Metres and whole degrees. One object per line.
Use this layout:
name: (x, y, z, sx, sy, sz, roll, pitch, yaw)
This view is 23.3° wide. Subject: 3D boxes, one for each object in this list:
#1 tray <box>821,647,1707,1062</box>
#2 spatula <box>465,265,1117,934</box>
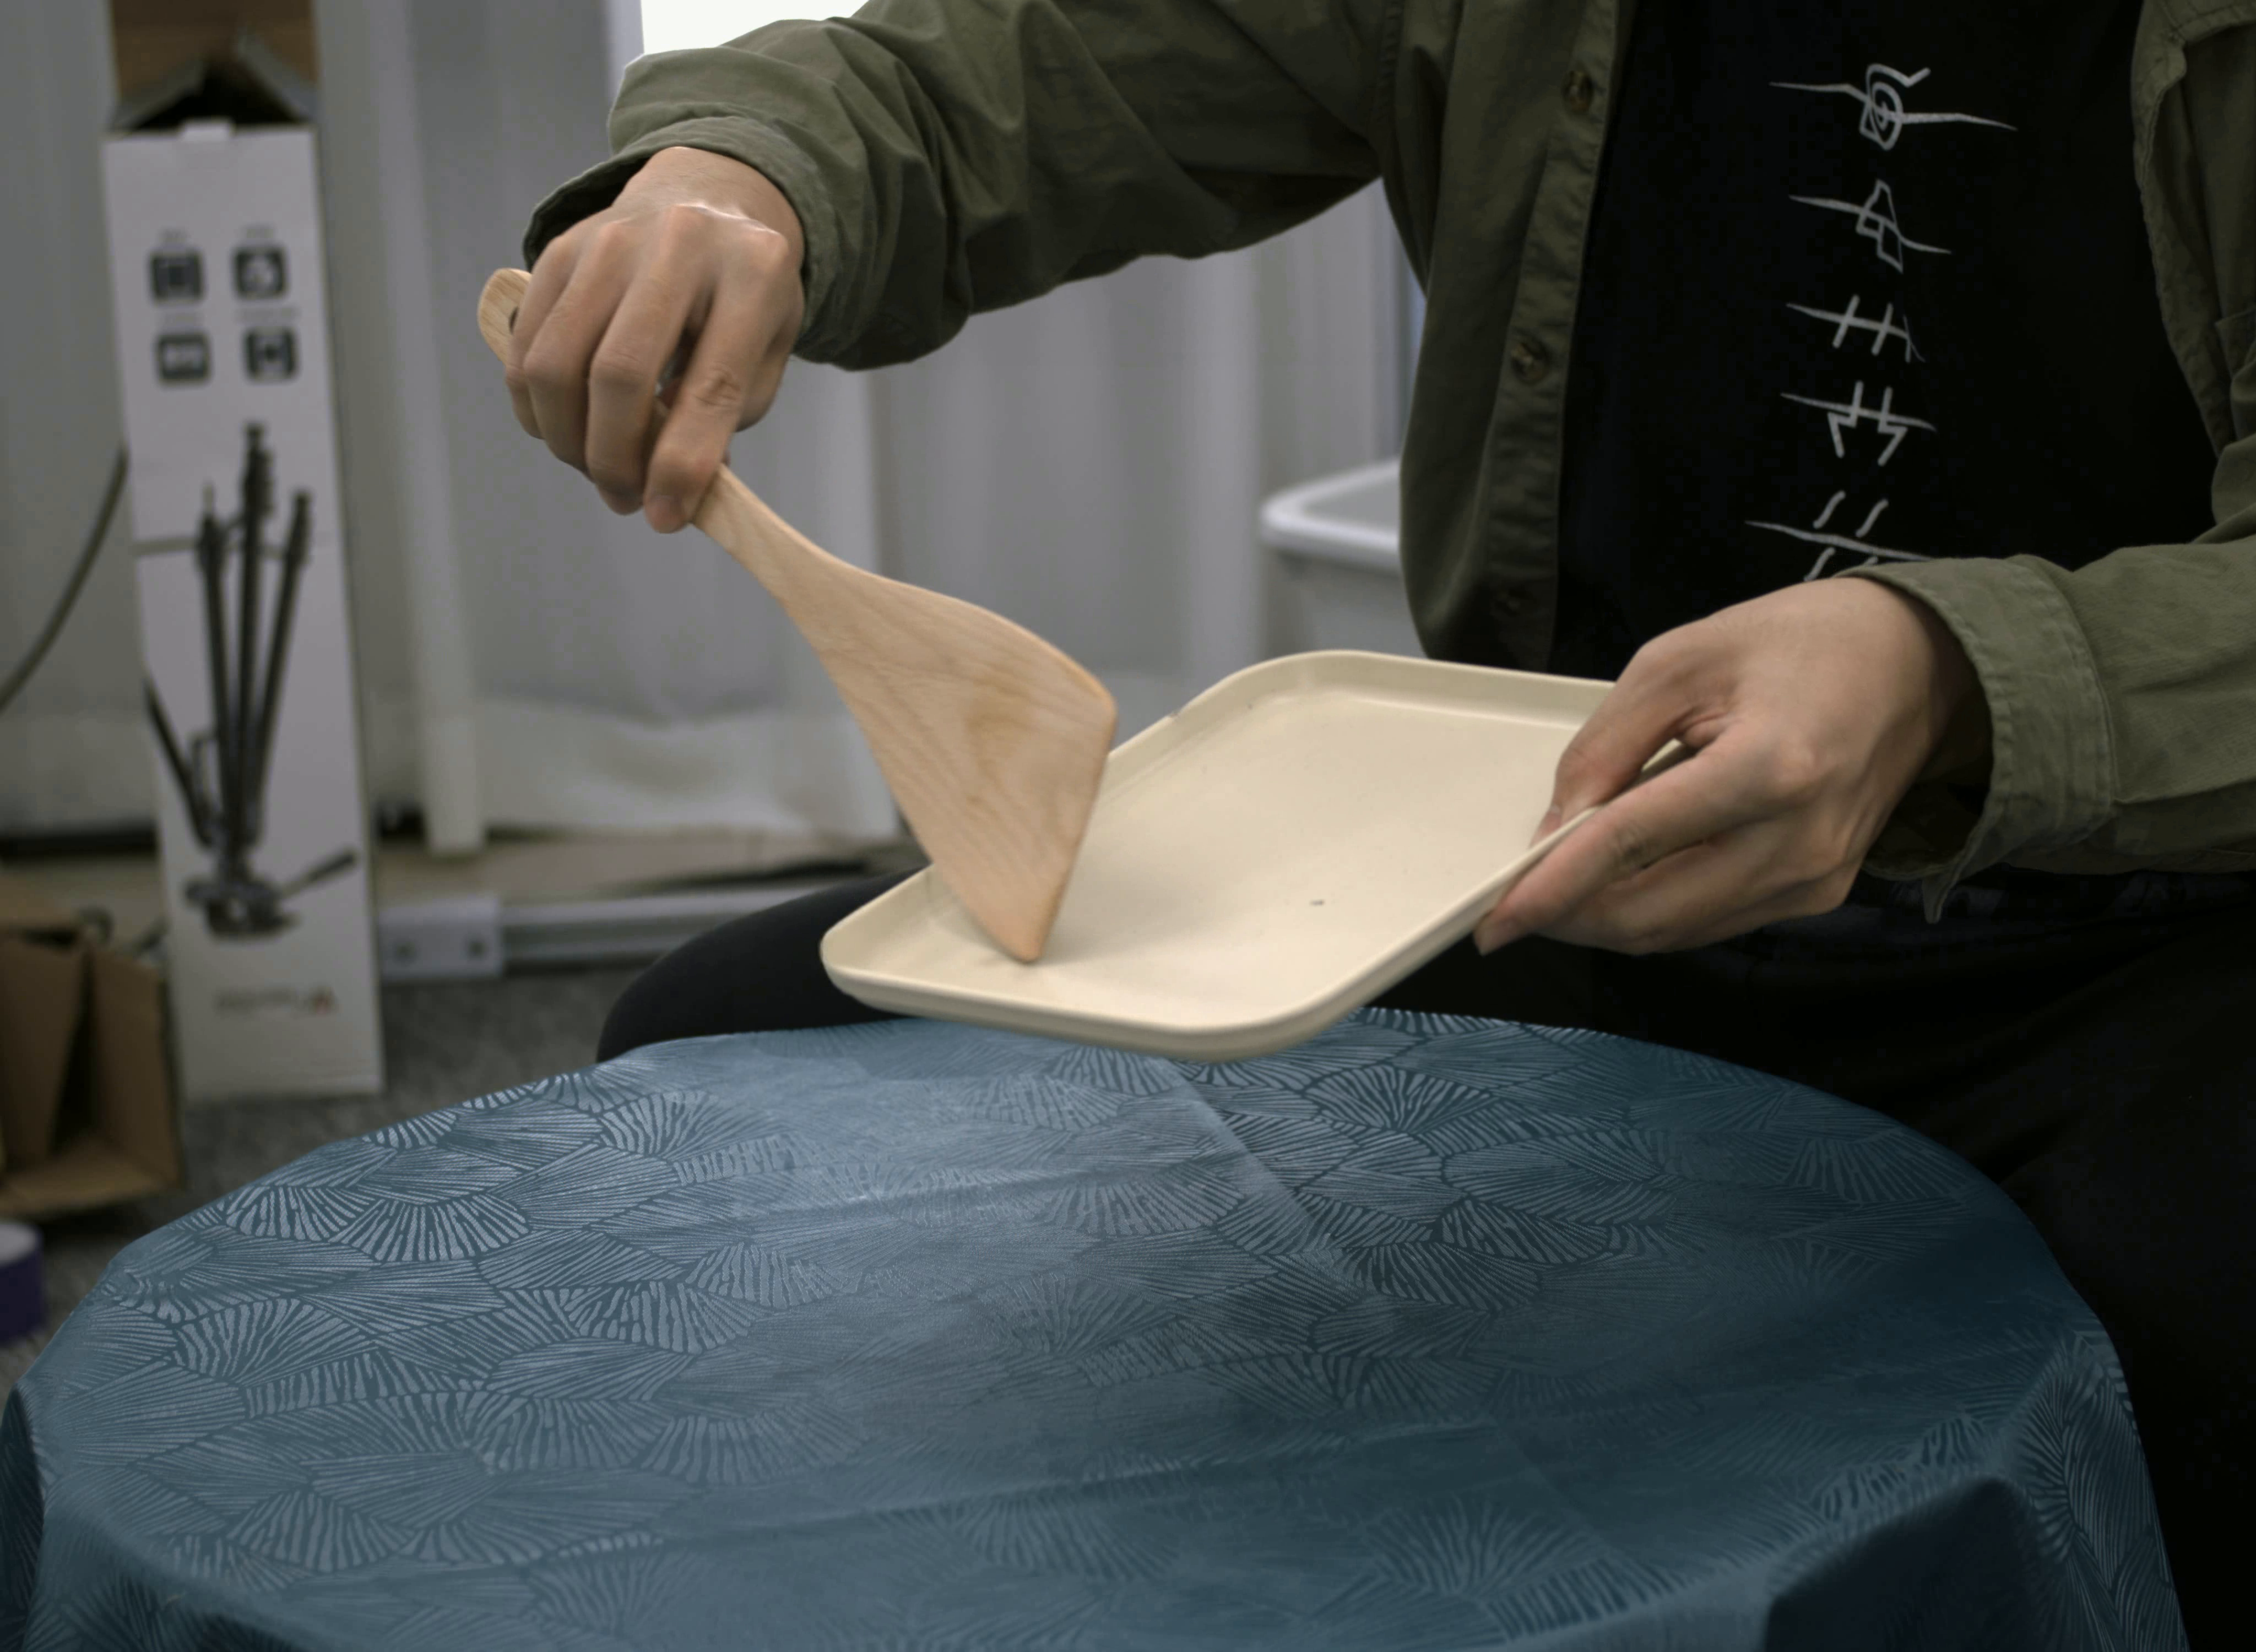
tray: (0.041, 0.006, 1.538, 0.172, 0.017, 0.240, 9, 28, 38)
spatula: (-0.106, -0.084, 1.601, 0.016, 0.079, 0.331, 5, 28, -46)
